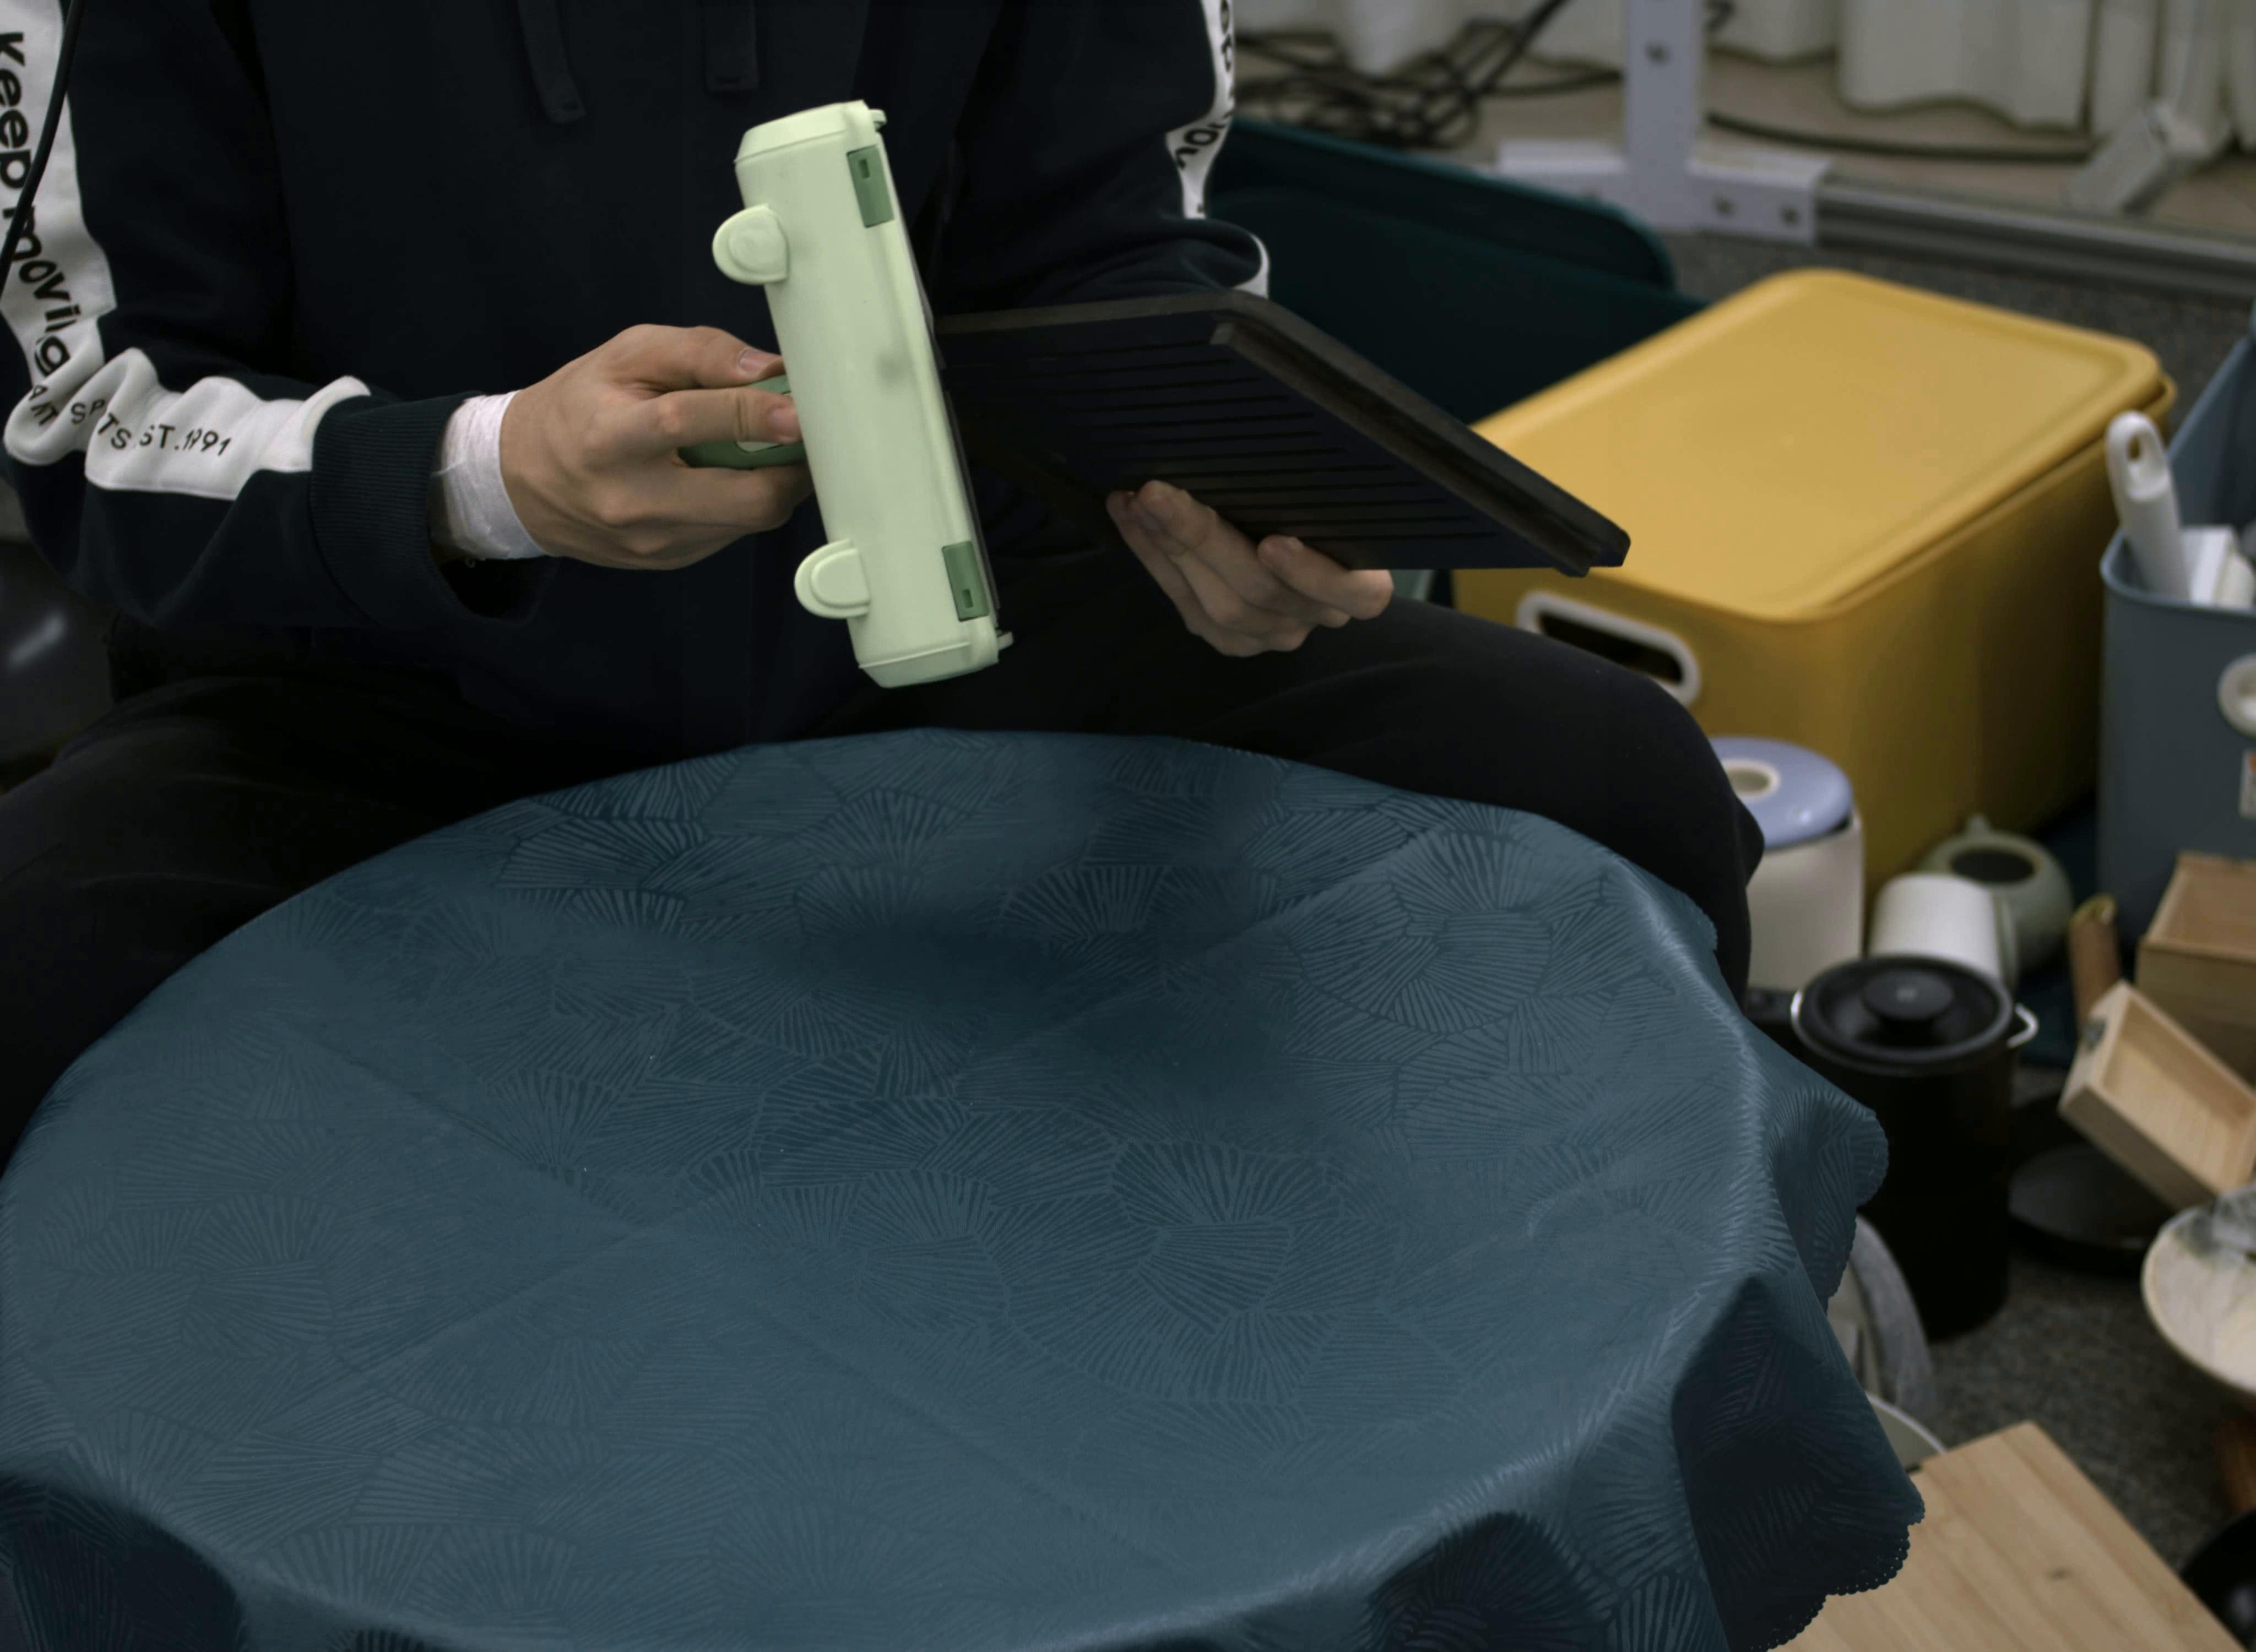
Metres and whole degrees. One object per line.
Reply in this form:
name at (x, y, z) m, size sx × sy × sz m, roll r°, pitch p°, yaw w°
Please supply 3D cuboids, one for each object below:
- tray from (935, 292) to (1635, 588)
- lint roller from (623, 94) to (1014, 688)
tray at (0.027, -0.125, 1.910) m, size 0.169 × 0.019 × 0.304 m, roll 31°, pitch -13°, yaw -26°
lint roller at (-0.129, -0.138, 1.938) m, size 0.181 × 0.199 × 0.083 m, roll -11°, pitch 3°, yaw 41°
